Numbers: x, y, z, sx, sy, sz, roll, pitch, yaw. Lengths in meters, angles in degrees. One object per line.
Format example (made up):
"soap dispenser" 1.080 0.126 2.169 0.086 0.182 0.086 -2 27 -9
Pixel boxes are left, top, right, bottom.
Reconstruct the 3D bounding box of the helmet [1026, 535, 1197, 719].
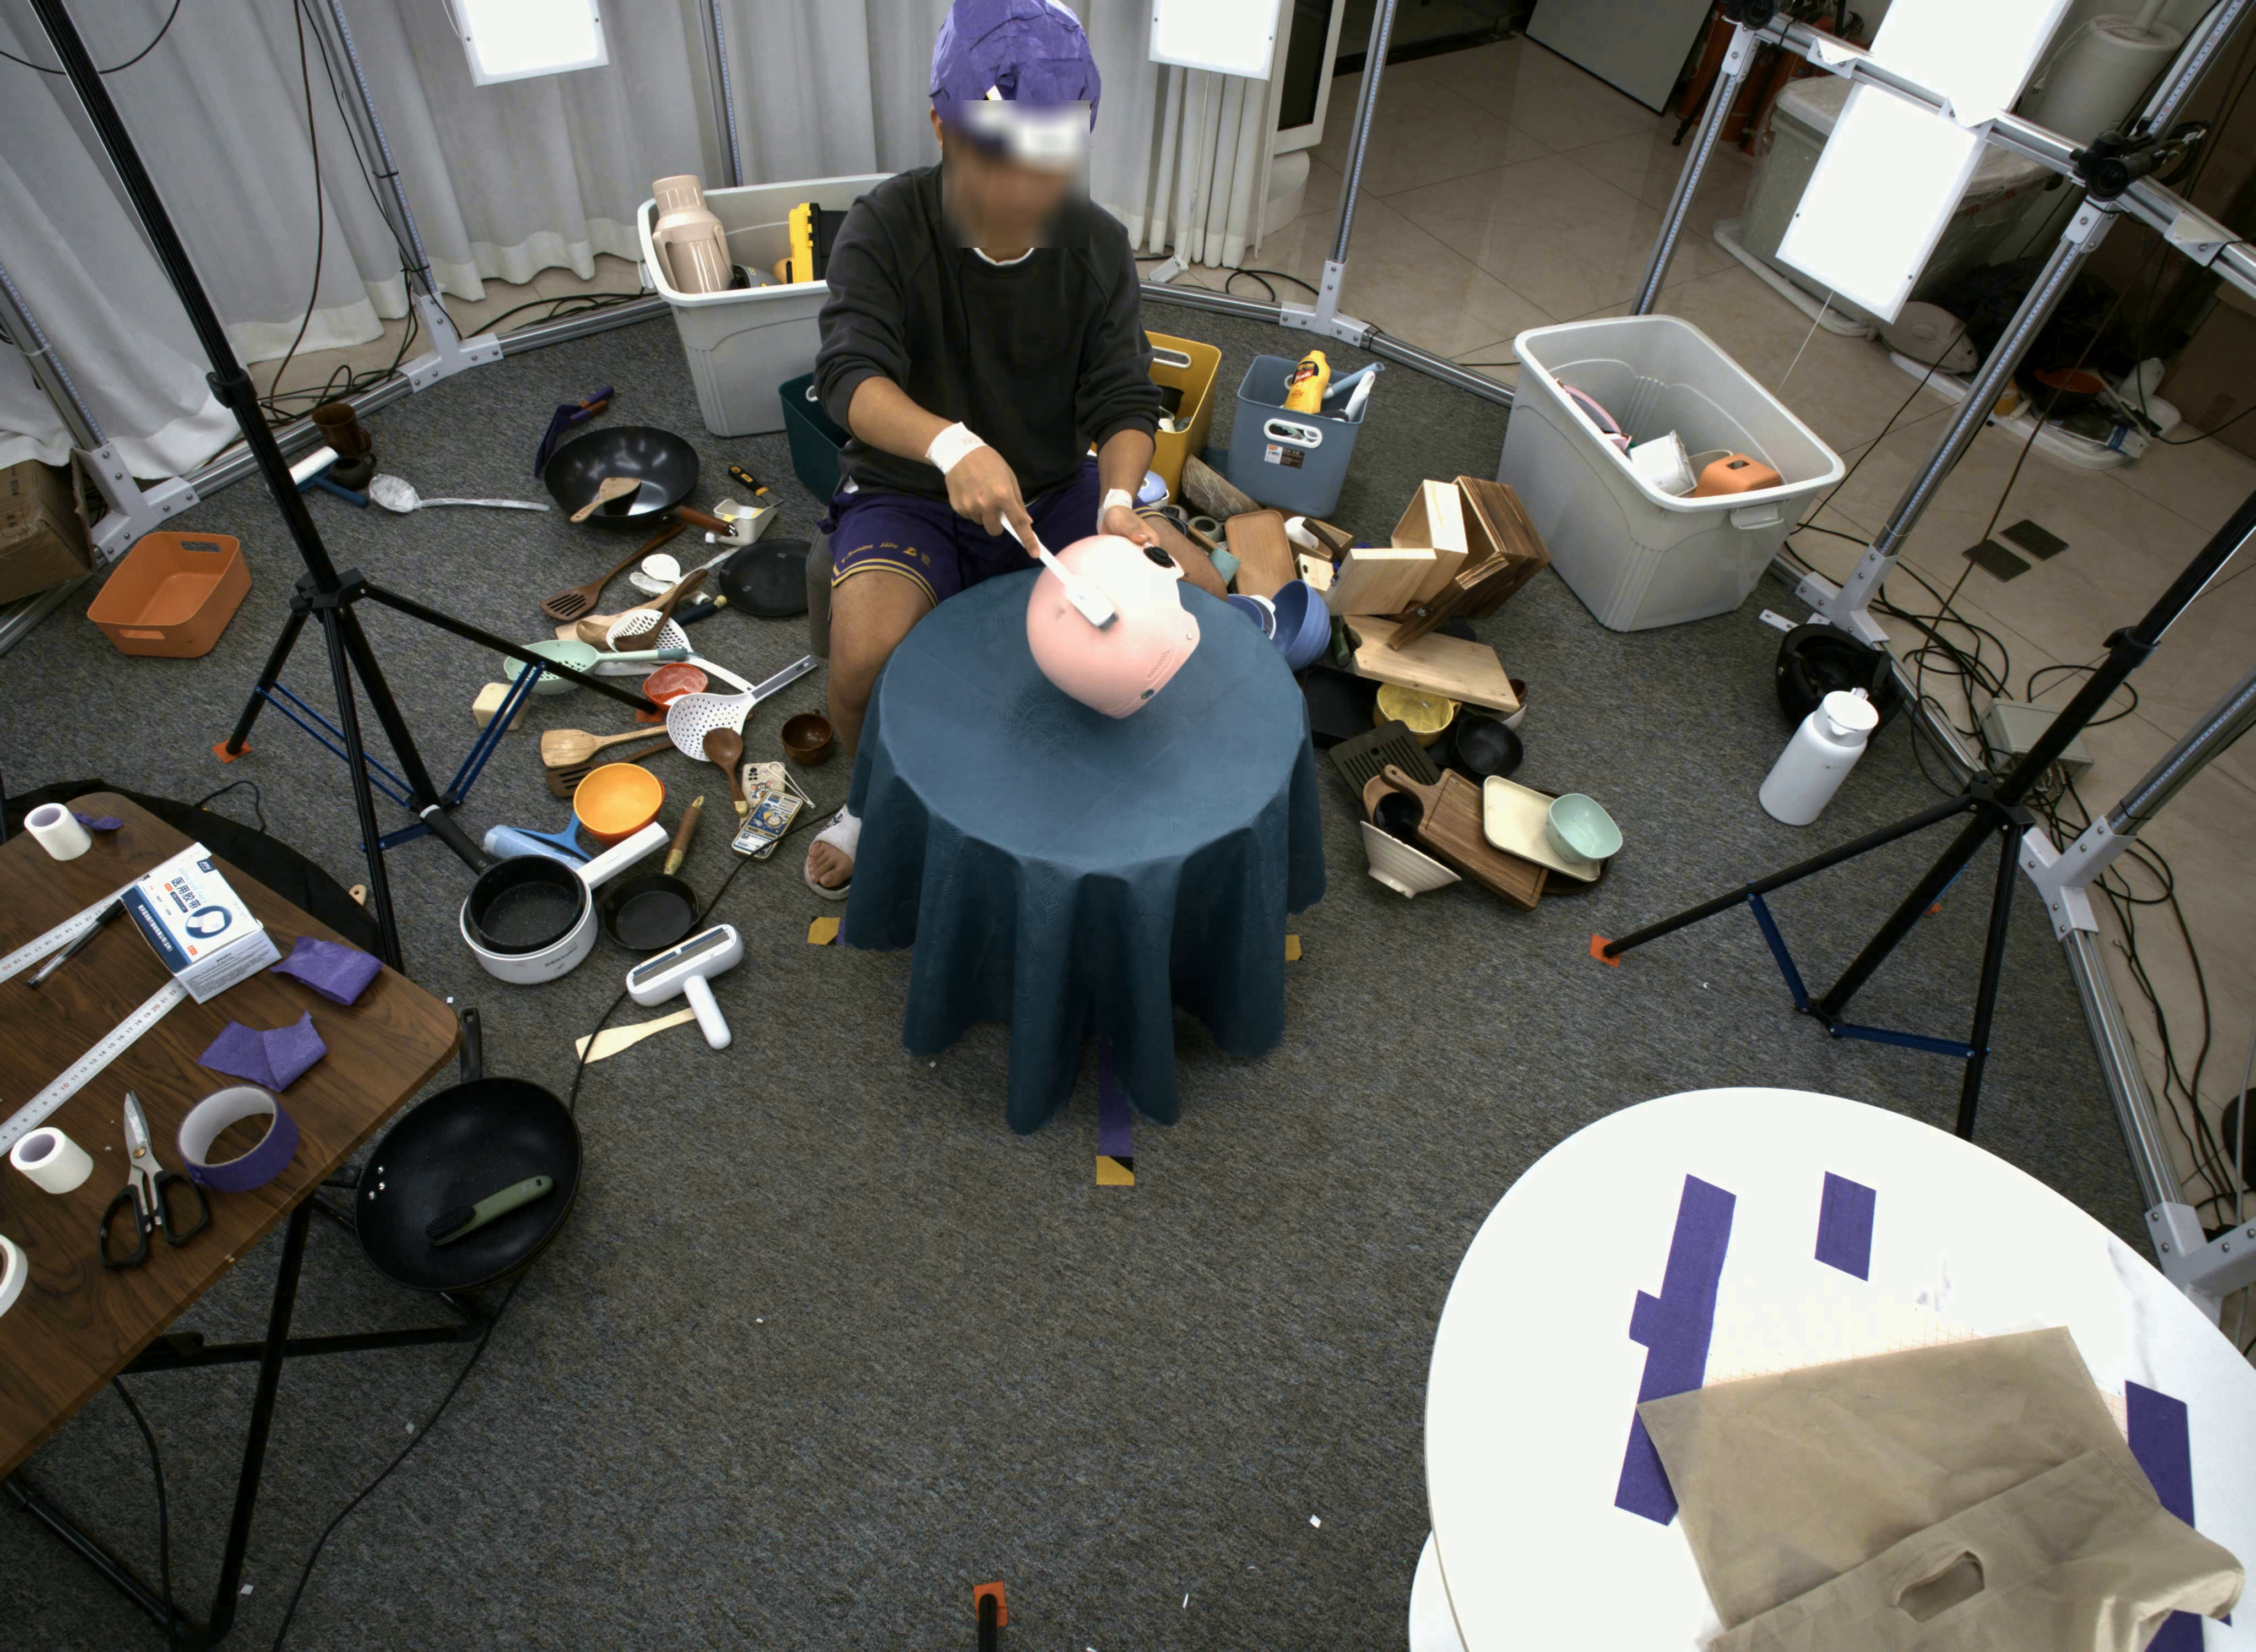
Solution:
"helmet" -0.047 -0.283 1.717 0.157 0.231 0.272 15 43 -43

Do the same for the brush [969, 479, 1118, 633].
"brush" -0.106 -0.336 1.603 0.034 0.050 0.244 -45 86 0
